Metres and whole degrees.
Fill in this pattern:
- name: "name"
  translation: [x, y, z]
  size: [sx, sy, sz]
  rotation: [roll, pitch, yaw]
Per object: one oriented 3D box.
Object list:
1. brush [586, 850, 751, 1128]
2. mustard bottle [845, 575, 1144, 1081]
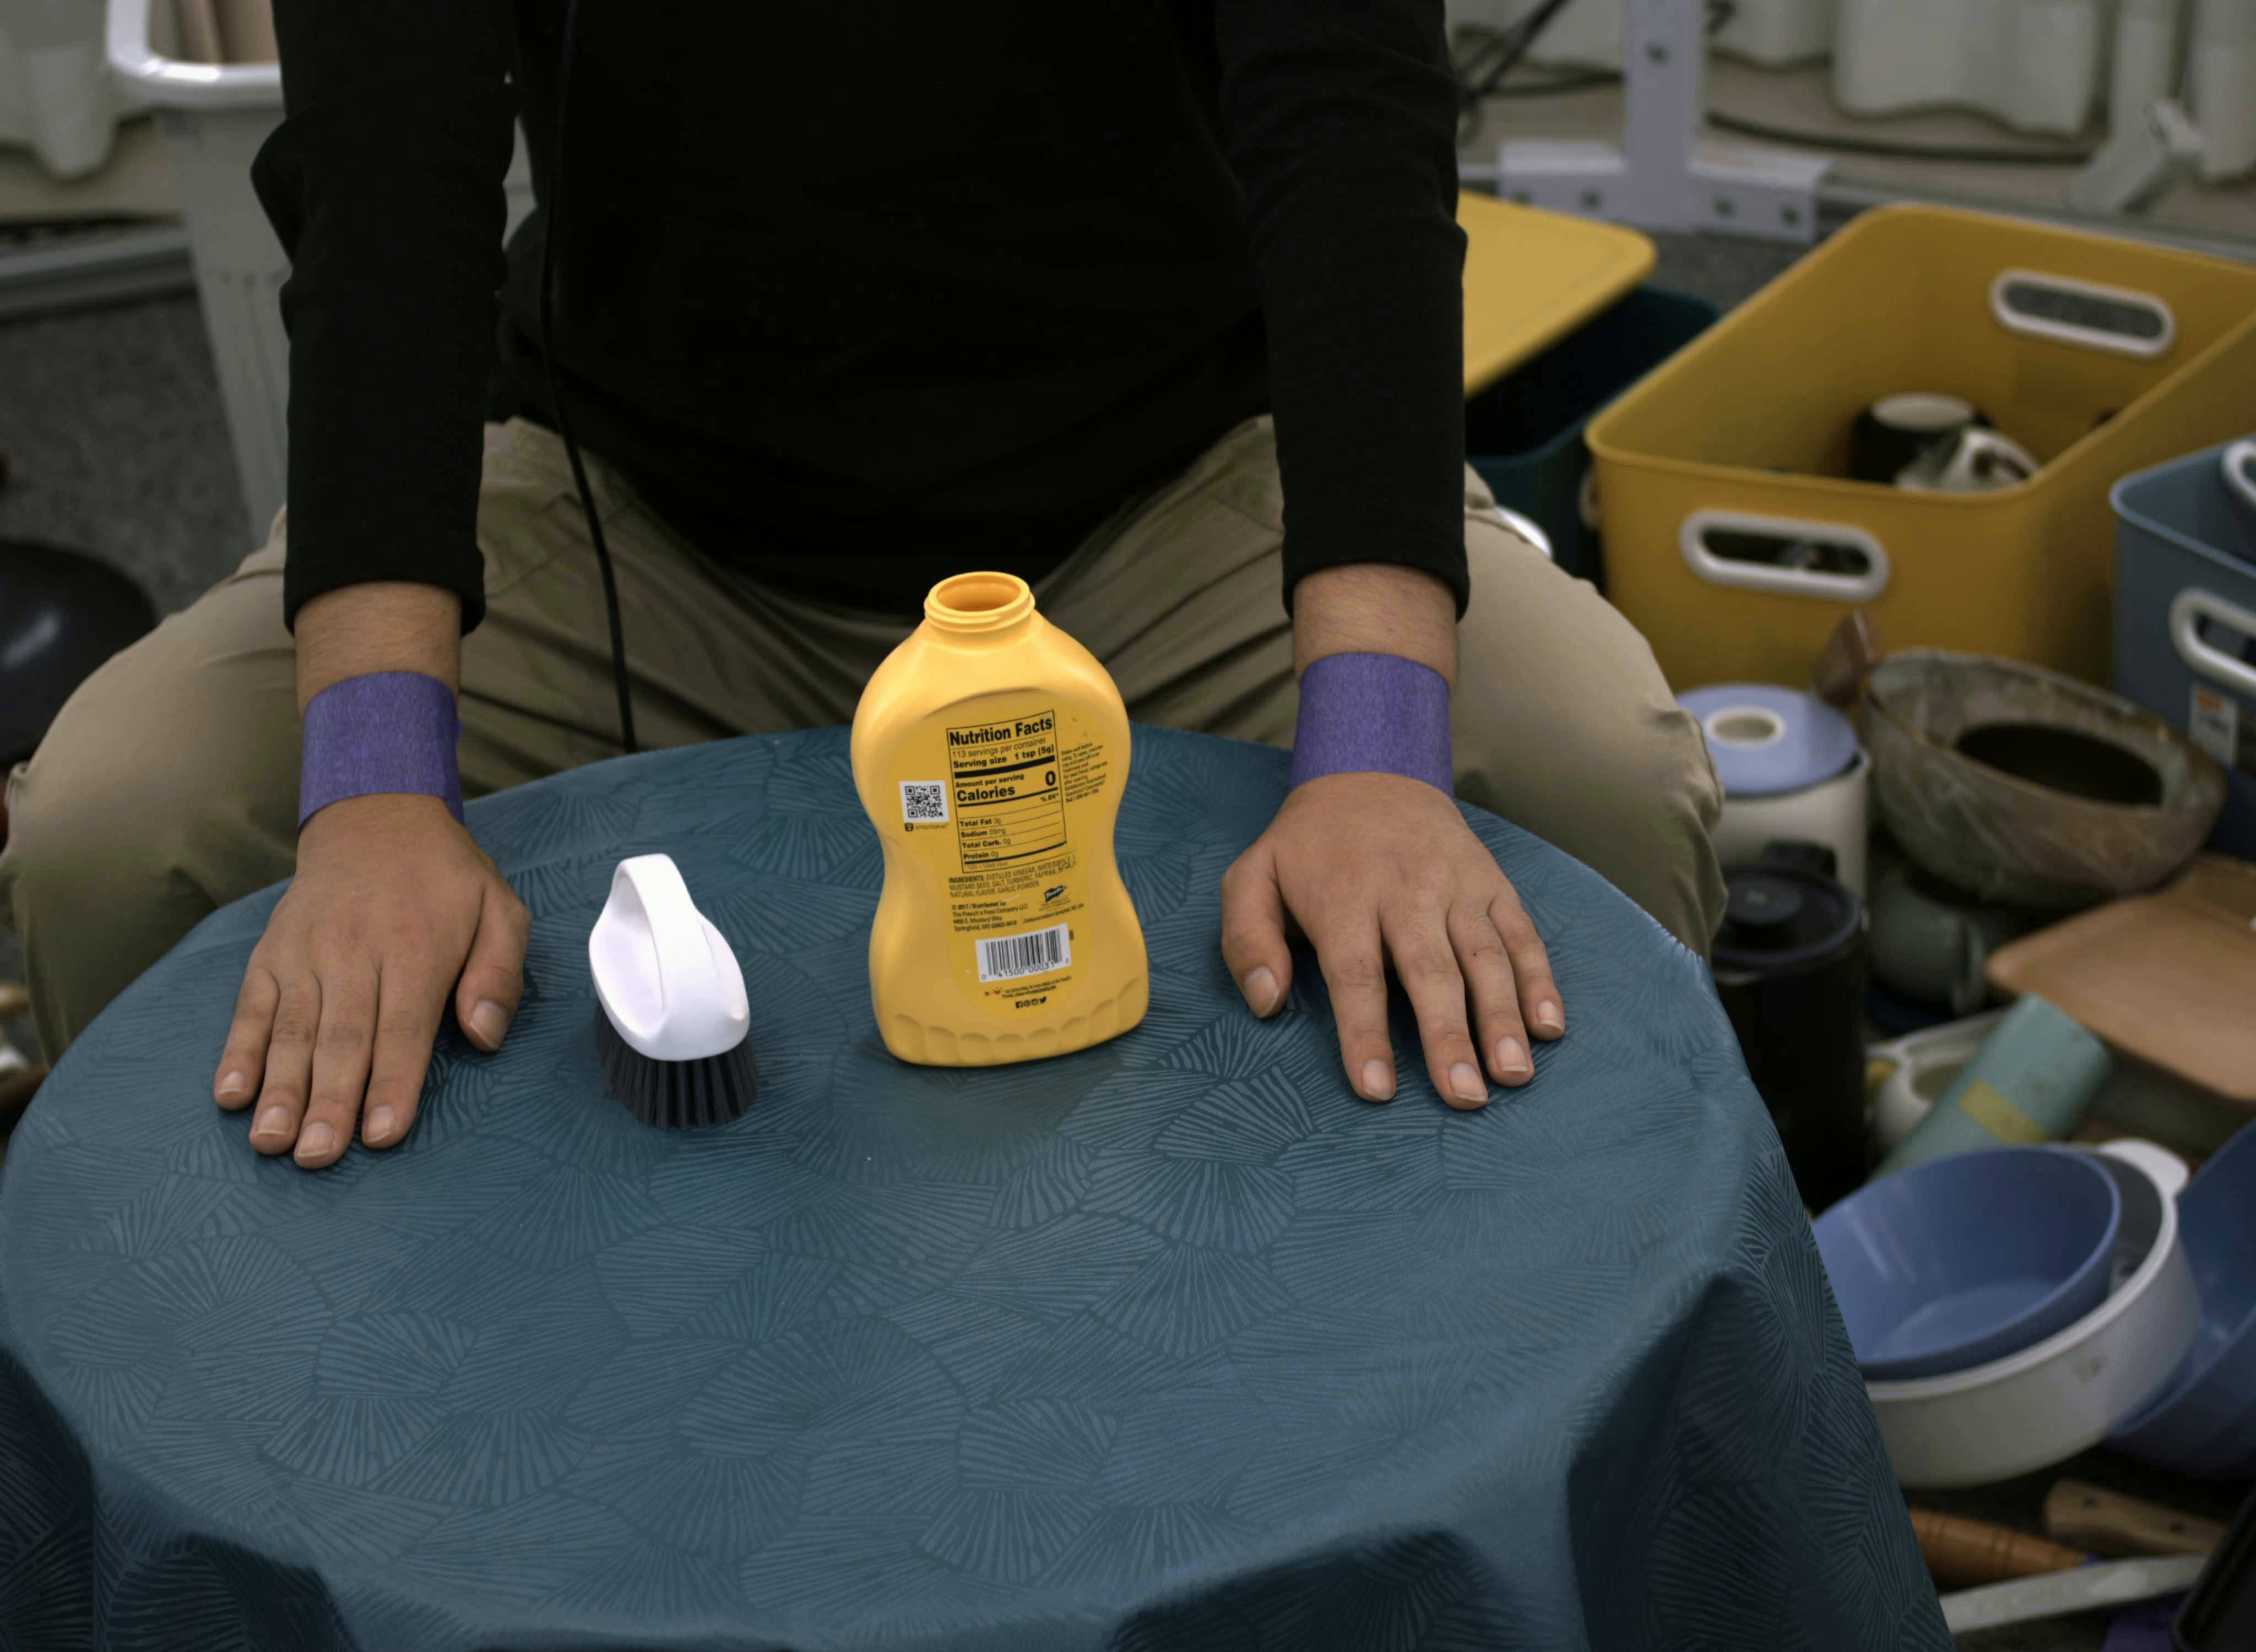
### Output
- name: "brush"
  translation: [-0.160, 0.050, 1.937]
  size: [0.050, 0.072, 0.100]
  rotation: [-8, 28, -12]
- name: "mustard bottle"
  translation: [-0.048, -0.001, 1.923]
  size: [0.098, 0.170, 0.060]
  rotation: [-11, 23, -13]
